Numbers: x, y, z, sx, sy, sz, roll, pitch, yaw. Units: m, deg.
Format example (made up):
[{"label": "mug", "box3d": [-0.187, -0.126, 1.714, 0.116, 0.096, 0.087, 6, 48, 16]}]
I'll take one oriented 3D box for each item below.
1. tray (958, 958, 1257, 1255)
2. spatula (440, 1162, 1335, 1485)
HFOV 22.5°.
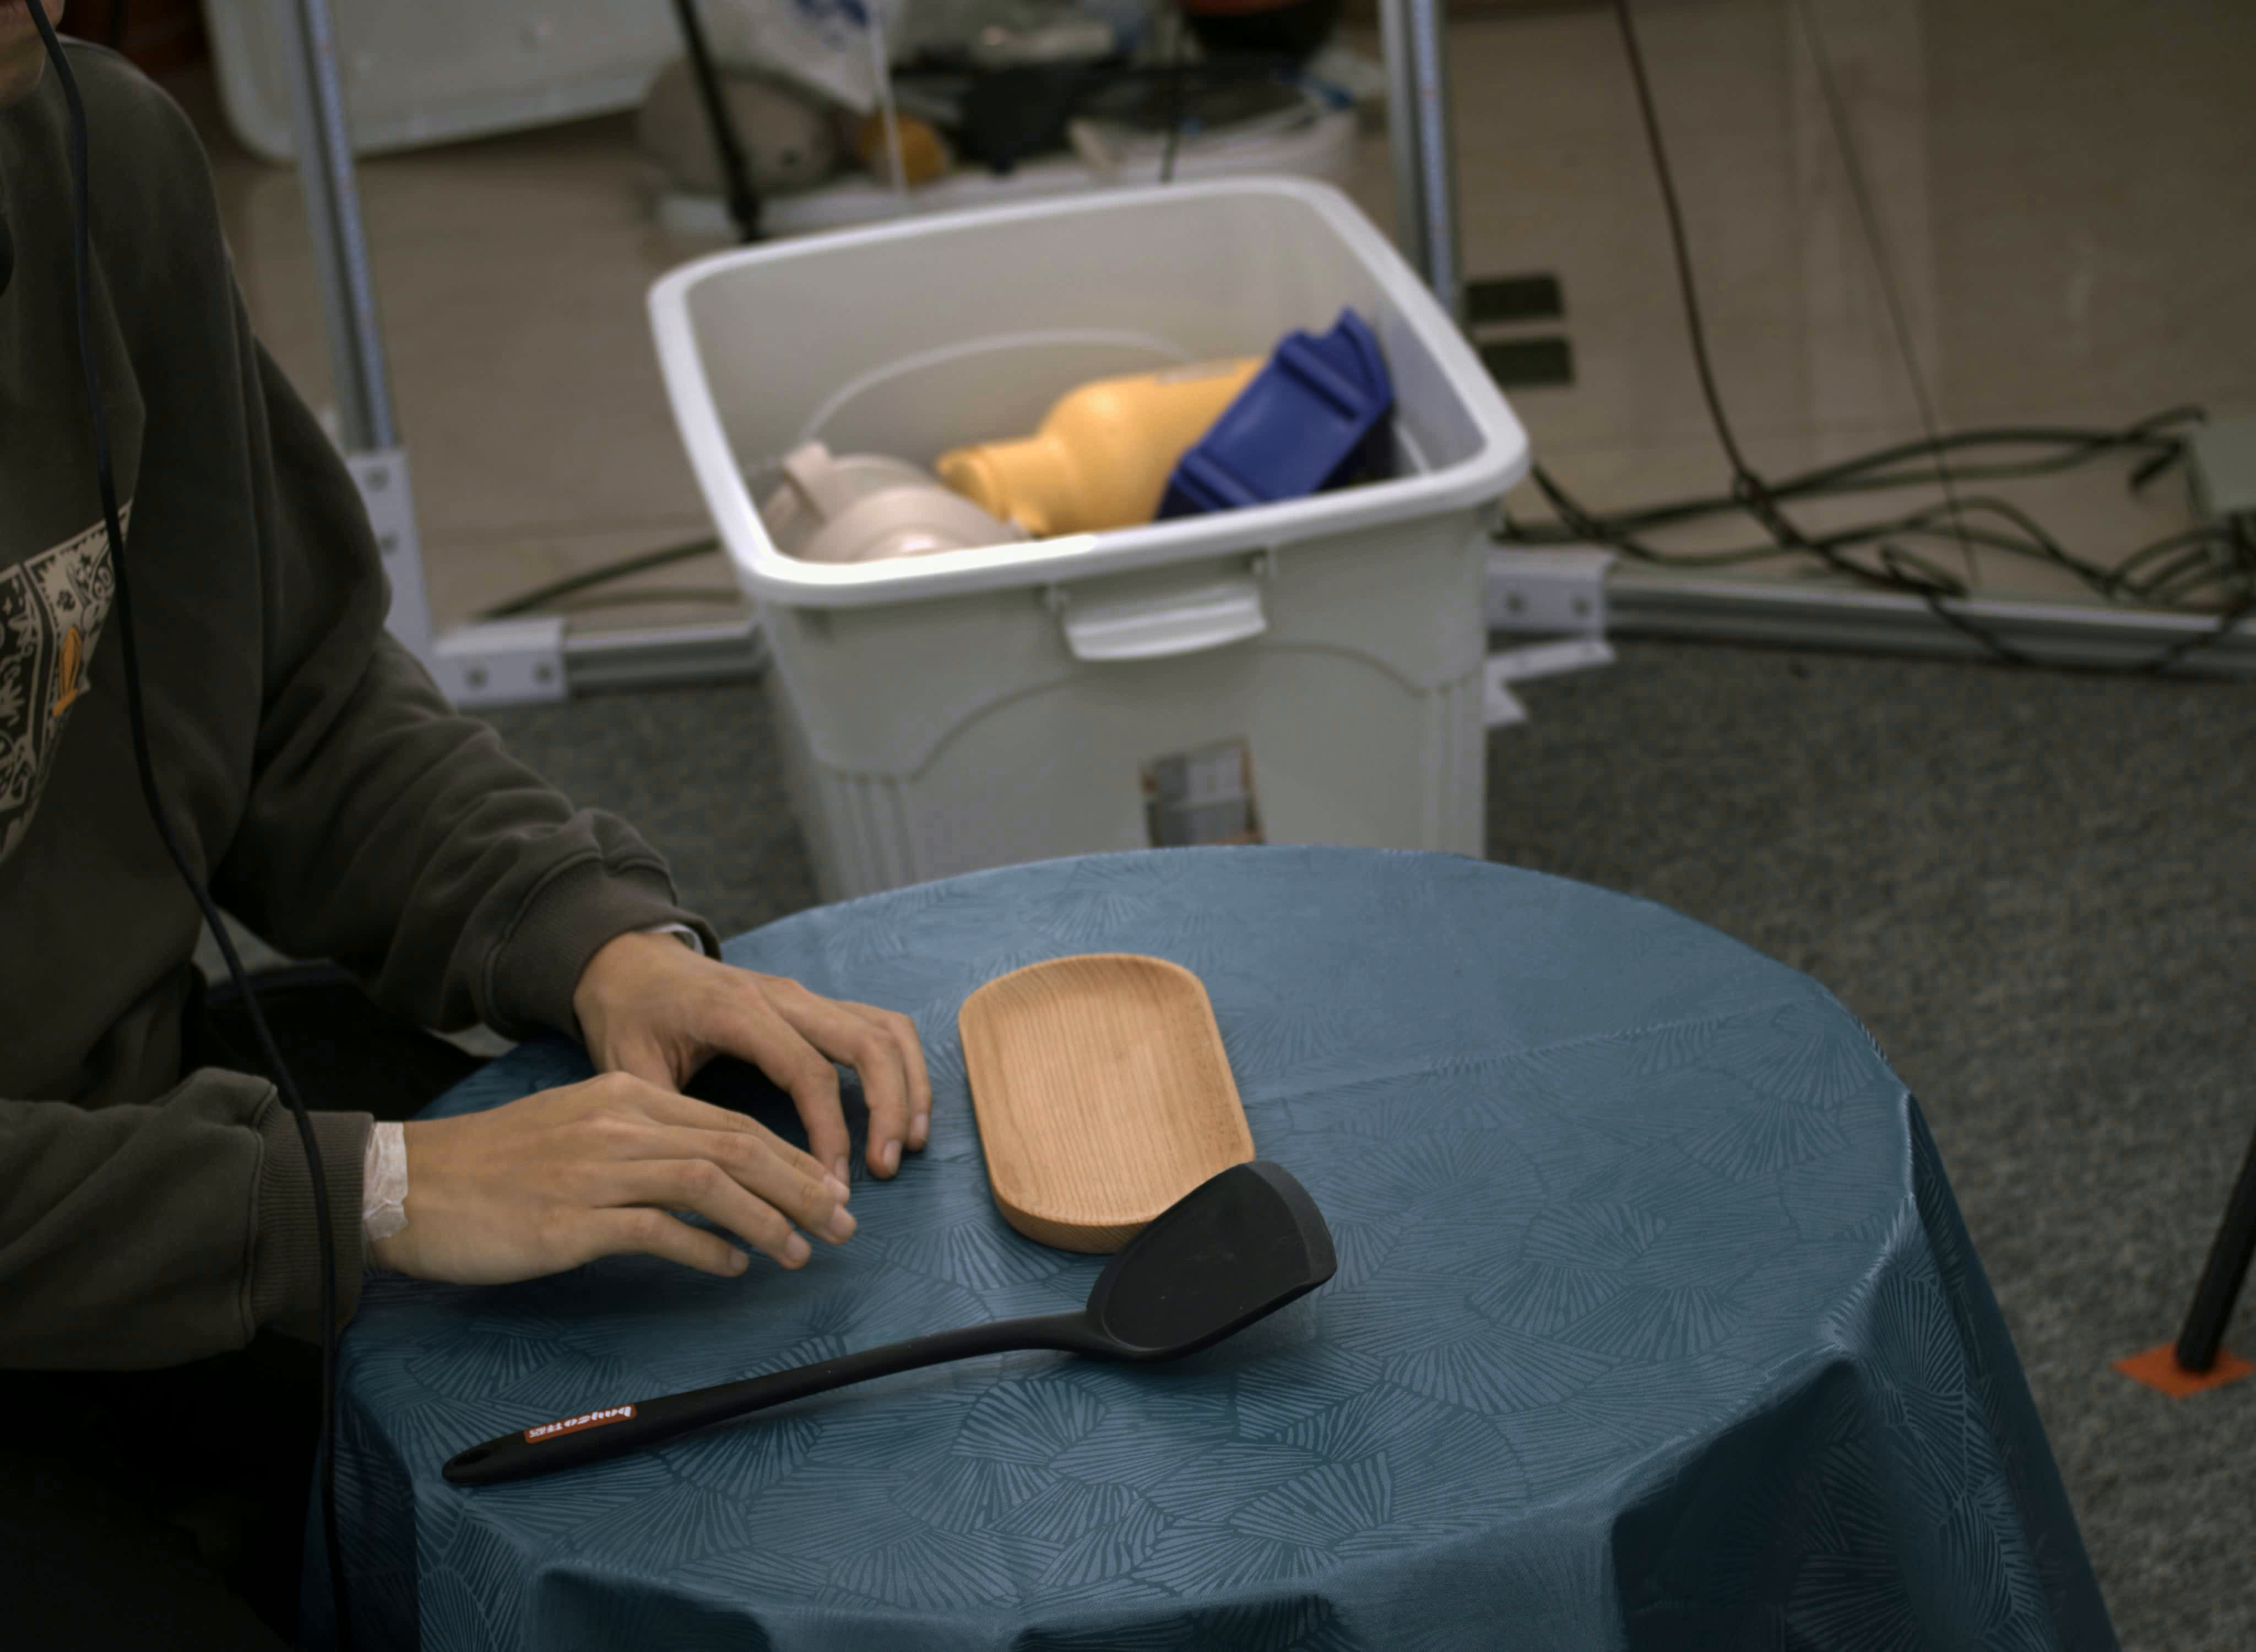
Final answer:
[{"label": "tray", "box3d": [-0.009, 0.107, 2.199, 0.101, 0.020, 0.228, -9, 26, -4]}, {"label": "spatula", "box3d": [-0.087, 0.186, 2.025, 0.325, 0.041, 0.098, -11, 24, -9]}]
